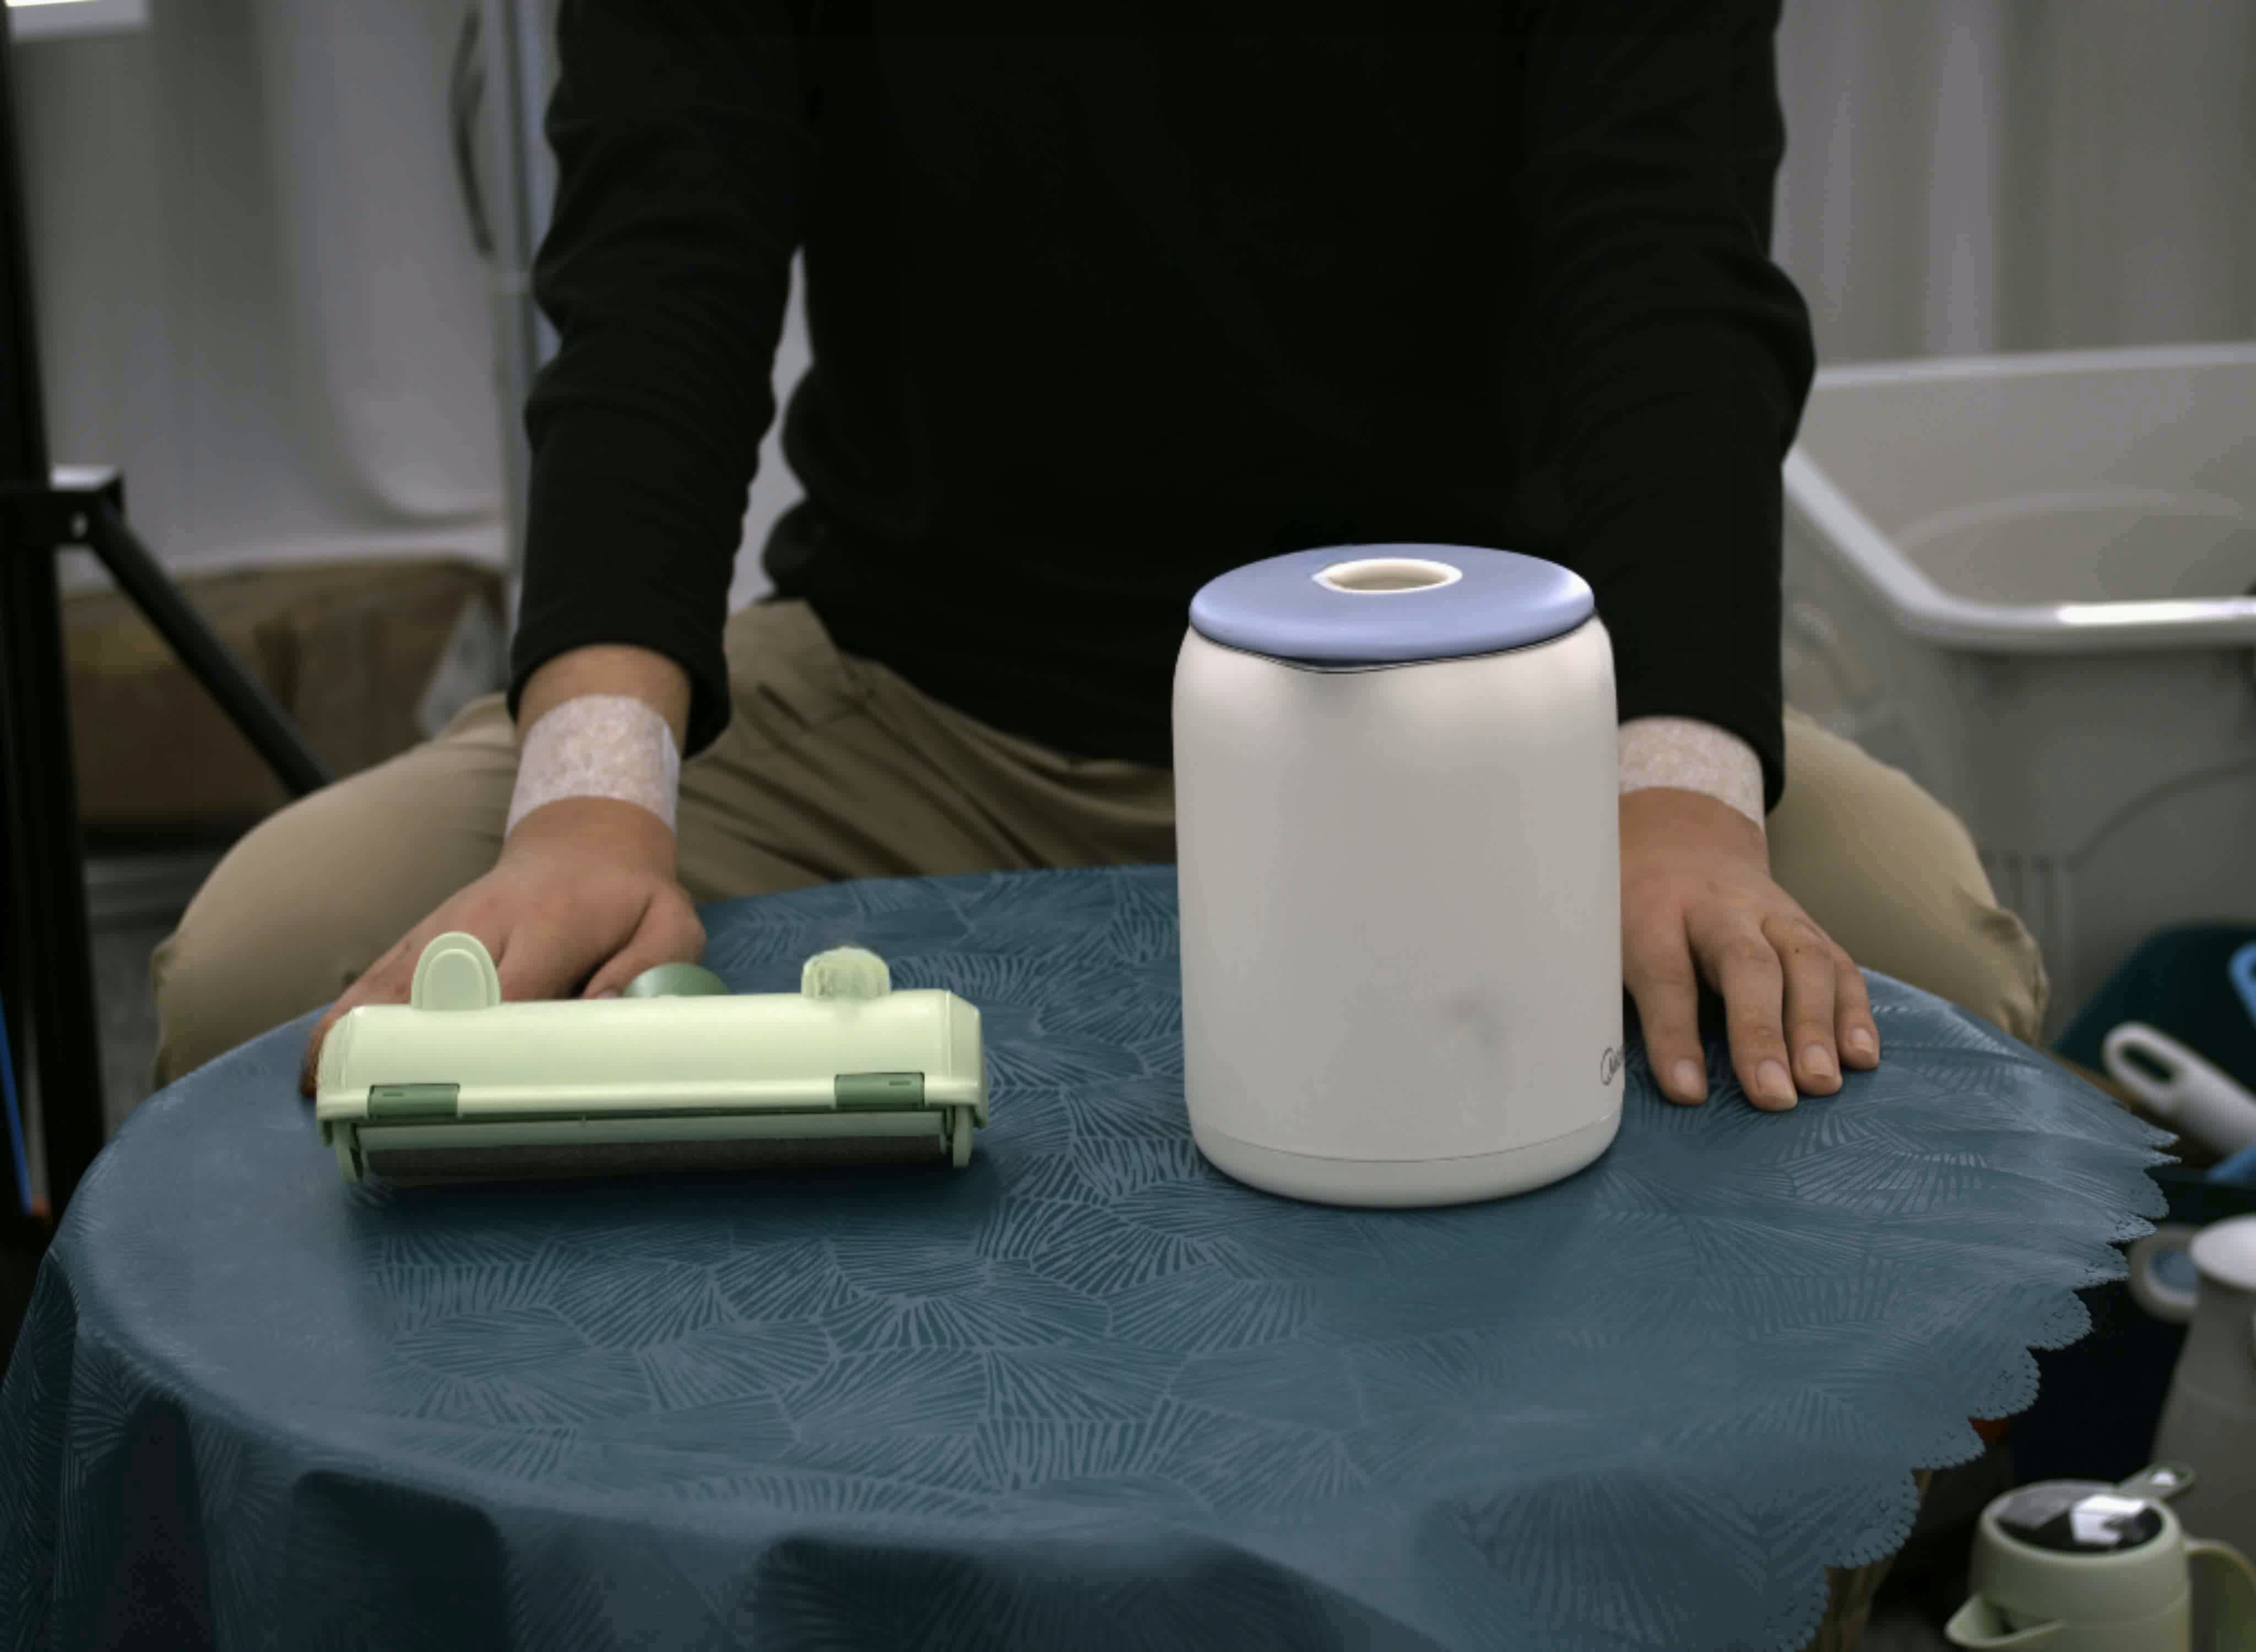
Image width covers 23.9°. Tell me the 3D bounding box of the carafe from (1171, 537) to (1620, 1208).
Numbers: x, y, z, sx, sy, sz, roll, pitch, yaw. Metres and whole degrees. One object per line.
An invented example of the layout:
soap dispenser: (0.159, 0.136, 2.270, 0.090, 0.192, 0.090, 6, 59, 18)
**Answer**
carafe: (0.086, 0.007, 1.587, 0.133, 0.182, 0.189, 3, 14, 17)

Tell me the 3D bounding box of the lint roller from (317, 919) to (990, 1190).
lint roller: (-0.141, 0.054, 1.631, 0.198, 0.082, 0.184, -1, 18, 0)
